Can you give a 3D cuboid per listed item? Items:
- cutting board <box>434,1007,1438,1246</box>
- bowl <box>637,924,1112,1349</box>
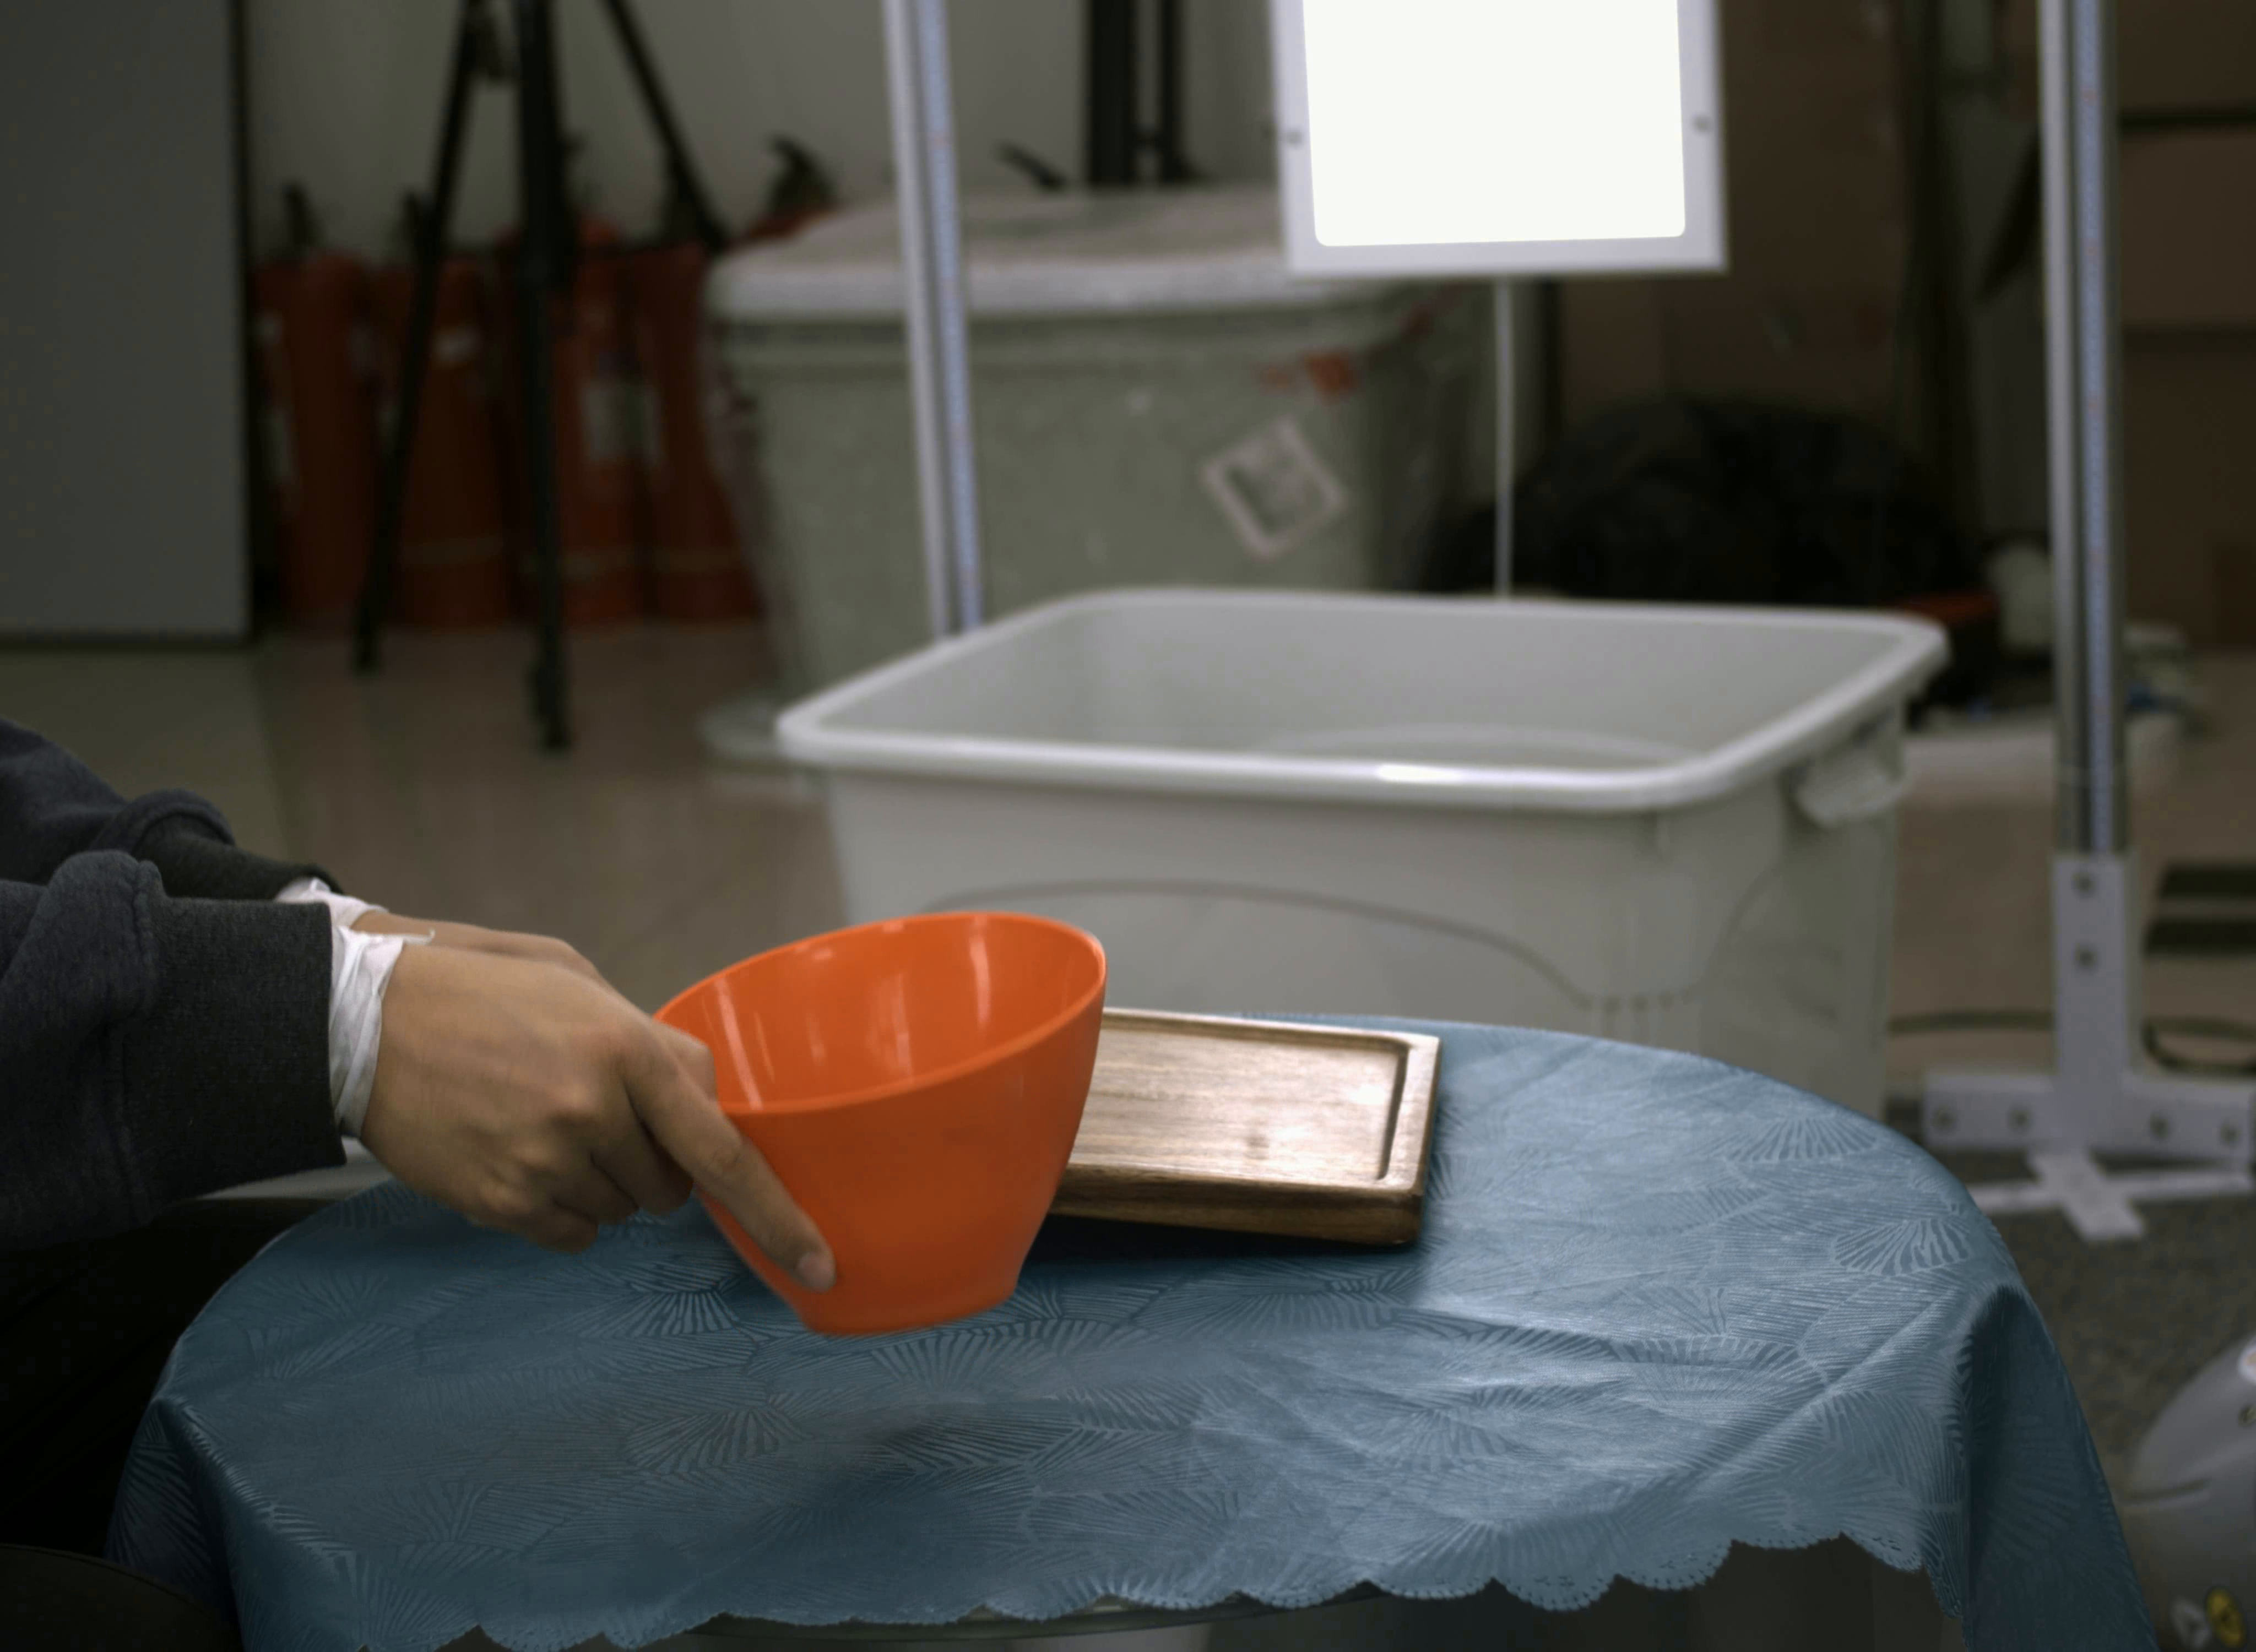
[{"bbox_3d":[-0.068,0.093,1.916,0.353,0.023,0.199,4,14,6],"label":"cutting board"},{"bbox_3d":[-0.071,0.098,1.679,0.148,0.105,0.148,-9,10,0],"label":"bowl"}]
